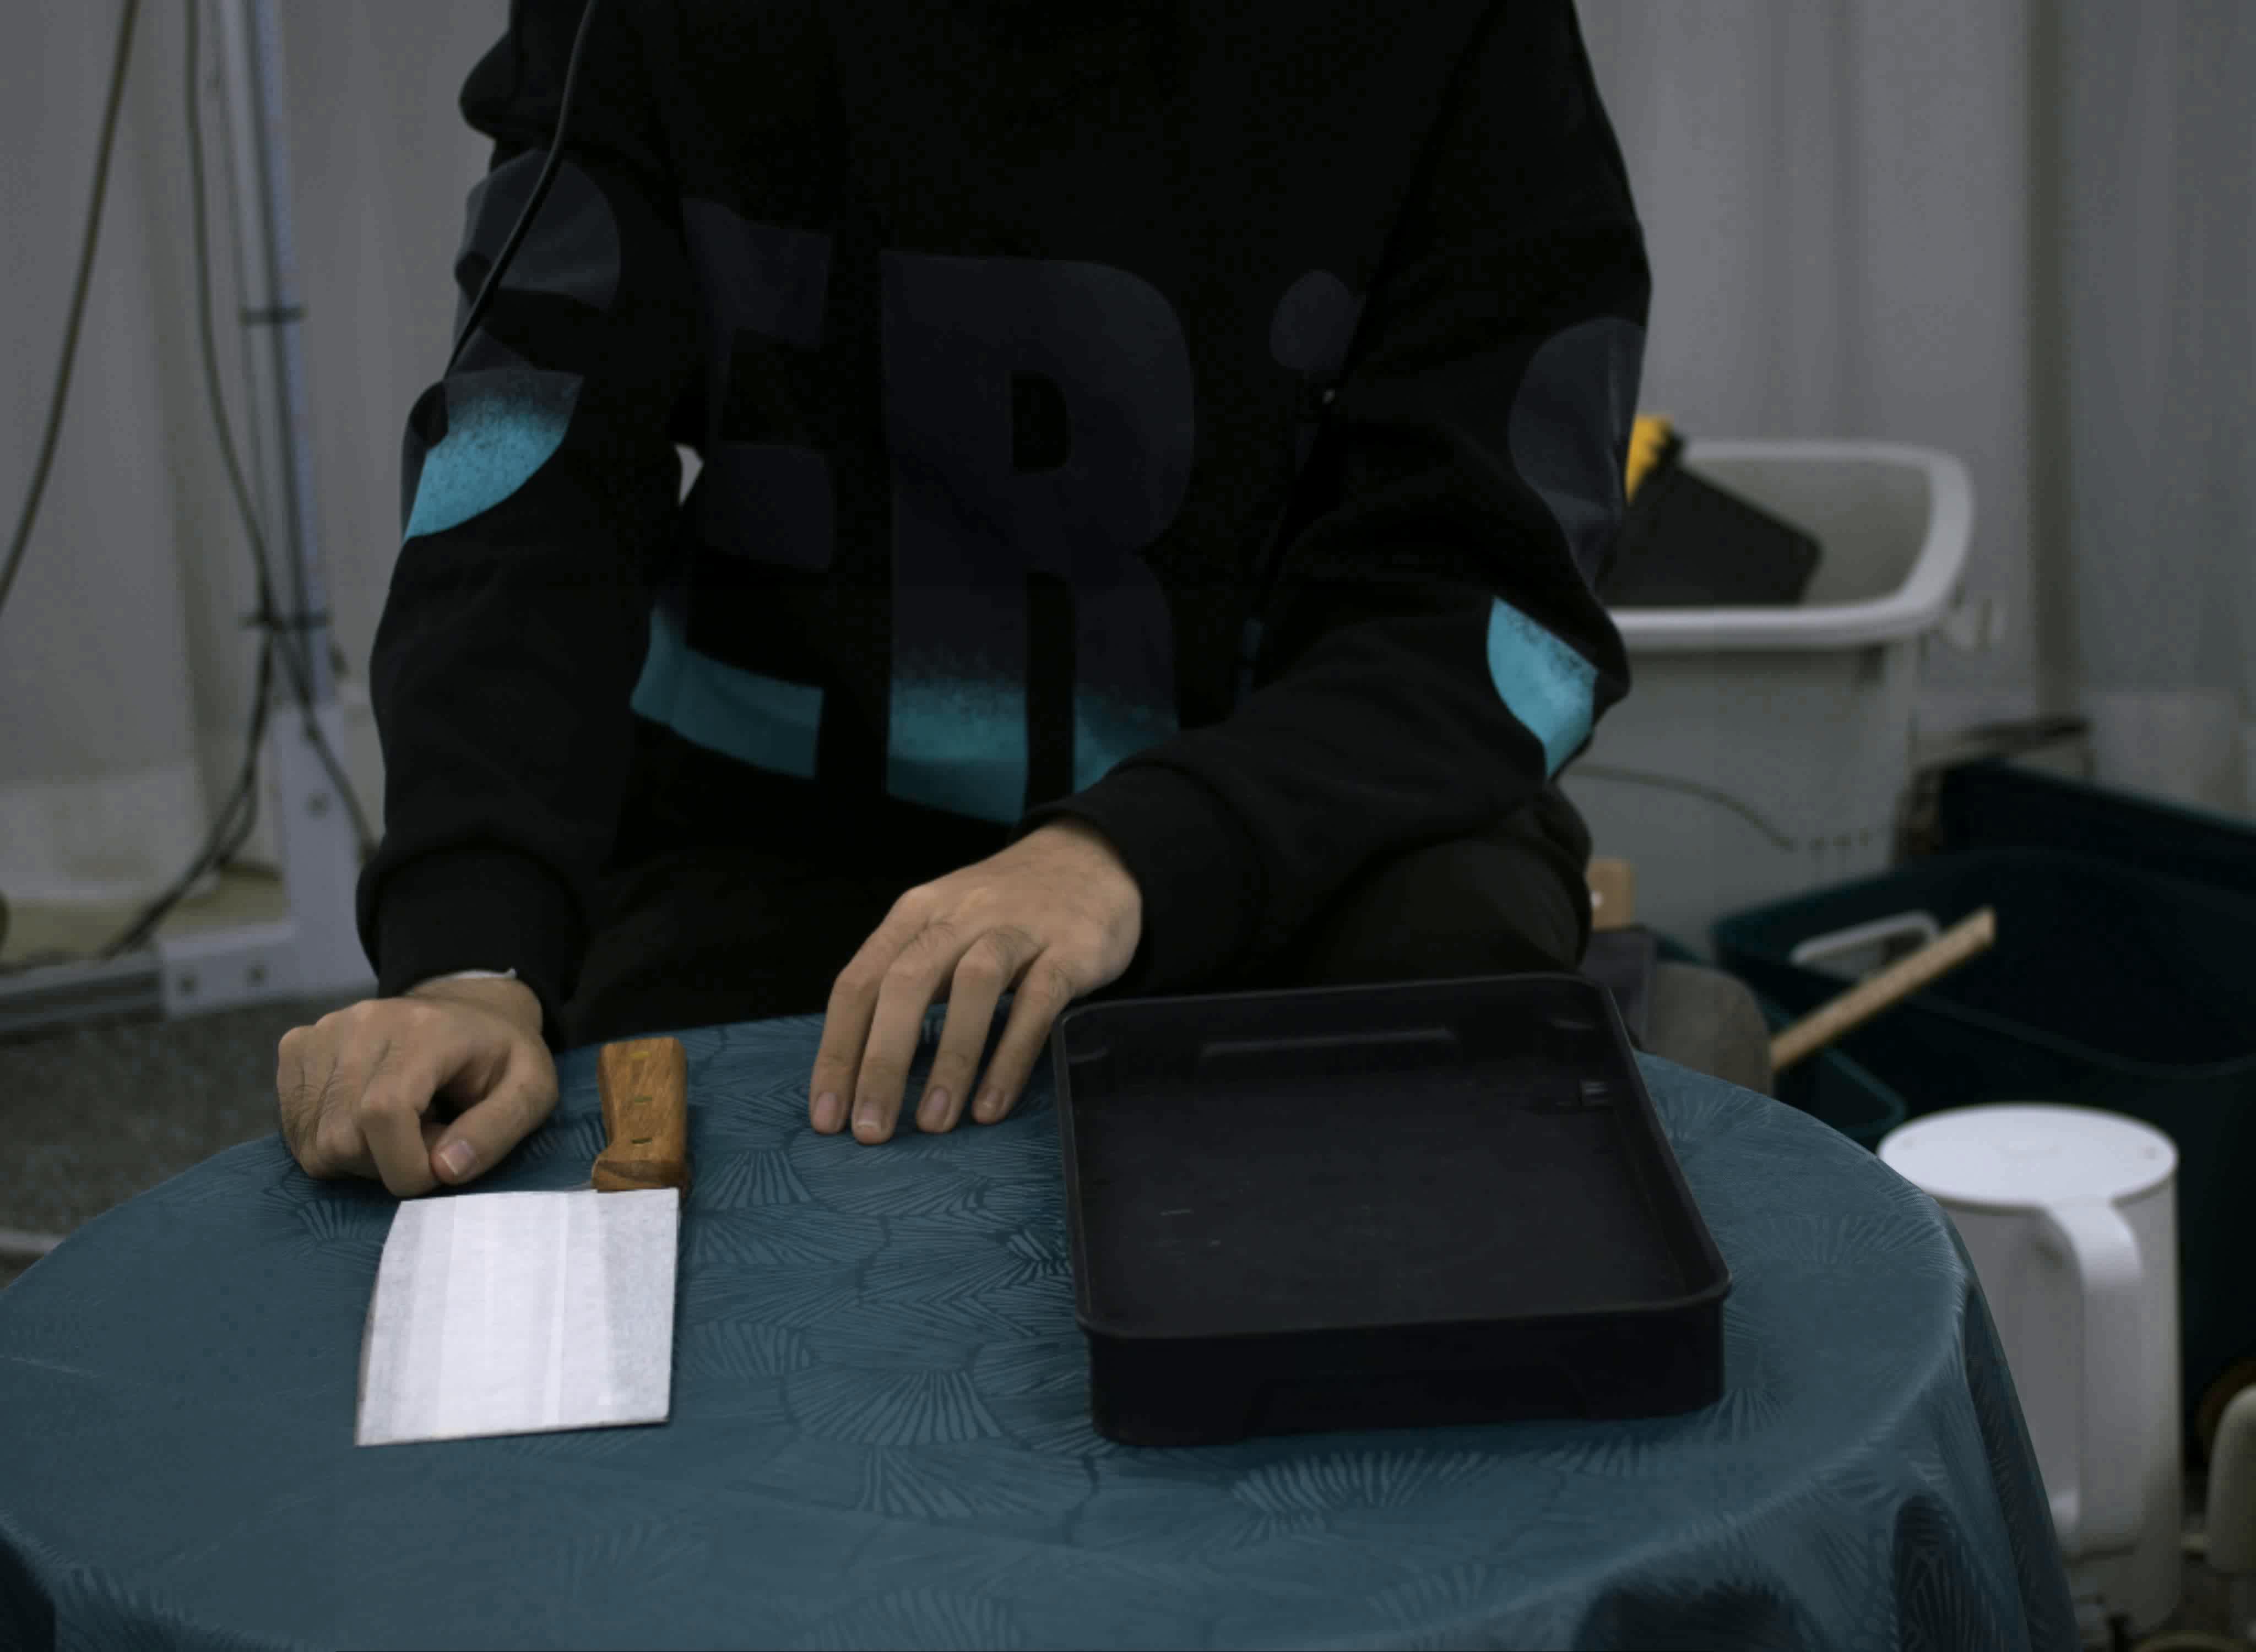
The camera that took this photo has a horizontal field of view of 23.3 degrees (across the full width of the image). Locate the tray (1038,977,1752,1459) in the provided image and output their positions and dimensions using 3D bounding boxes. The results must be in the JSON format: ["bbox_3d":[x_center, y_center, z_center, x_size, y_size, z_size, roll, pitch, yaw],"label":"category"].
[{"bbox_3d":[0.073,0.112,1.642,0.183,0.037,0.320,-4,15,-3],"label":"tray"}]

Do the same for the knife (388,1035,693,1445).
[{"bbox_3d":[-0.181,0.126,1.681,0.092,0.021,0.308,-5,17,-2],"label":"knife"}]
